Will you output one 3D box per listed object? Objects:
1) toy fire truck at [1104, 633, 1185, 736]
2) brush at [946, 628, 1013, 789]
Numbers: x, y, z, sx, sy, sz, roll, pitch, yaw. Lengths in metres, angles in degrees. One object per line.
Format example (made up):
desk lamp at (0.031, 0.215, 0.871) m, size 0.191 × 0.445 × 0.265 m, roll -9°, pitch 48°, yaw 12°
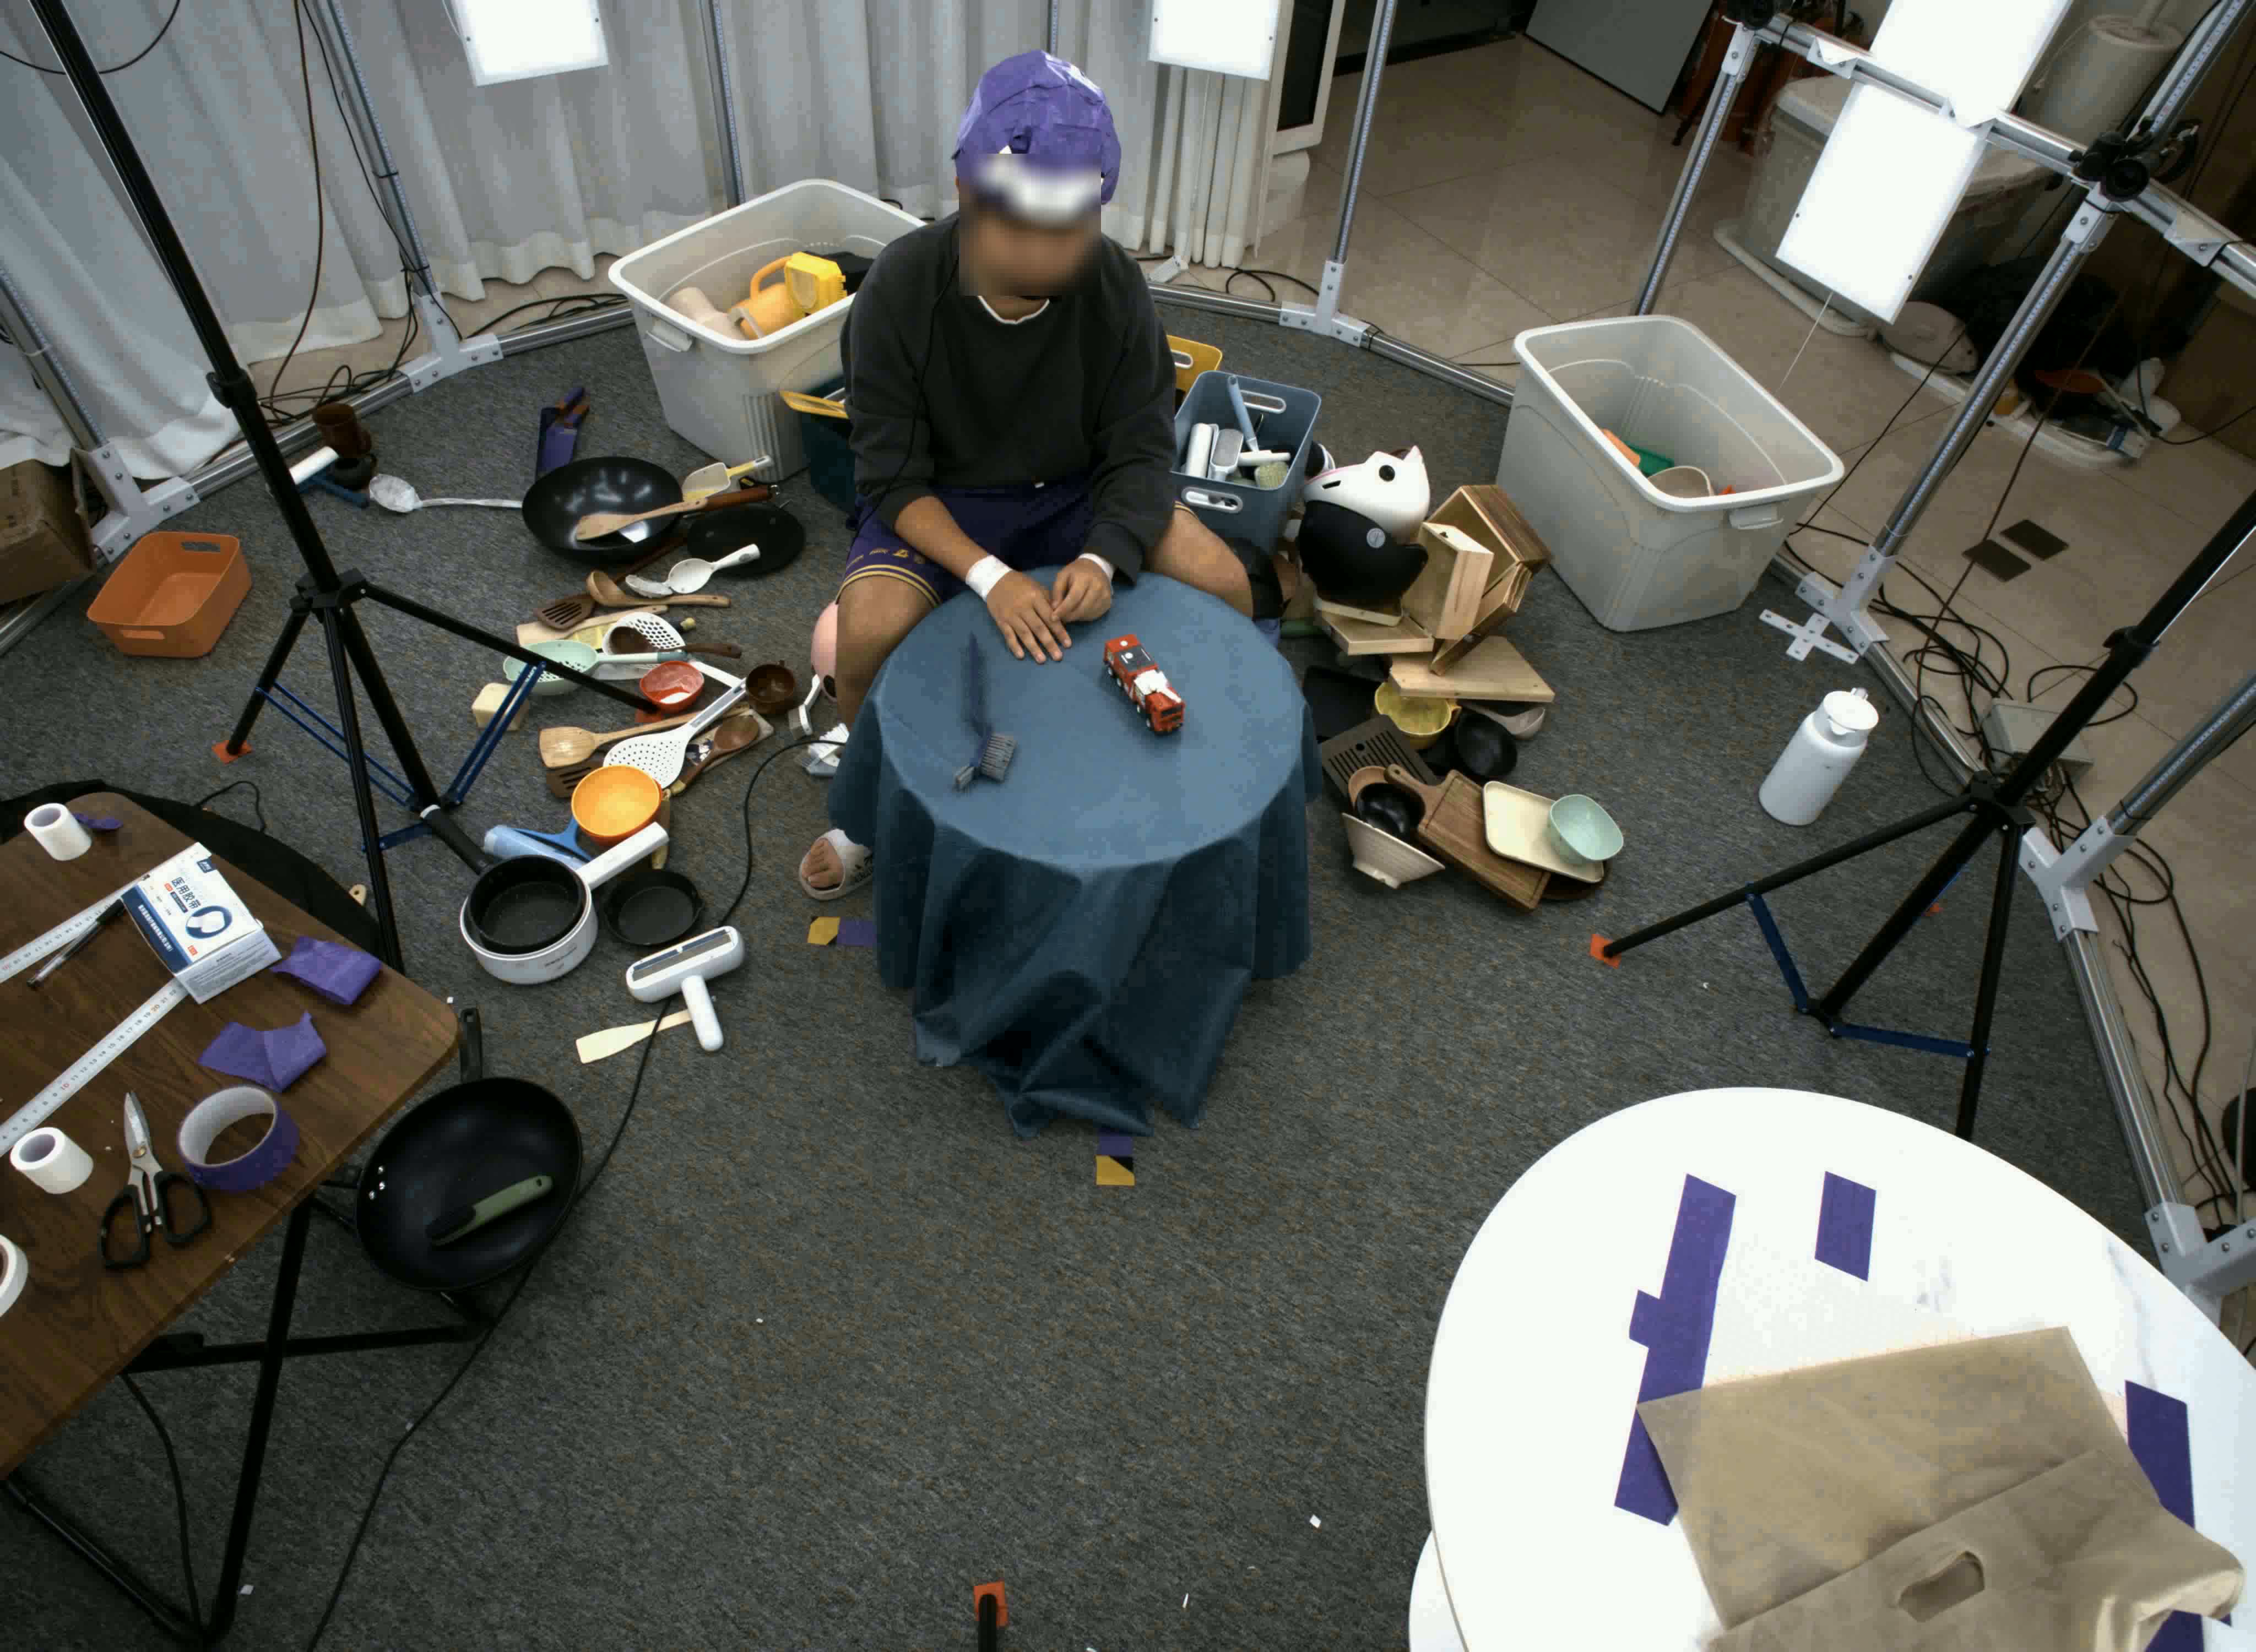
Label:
toy fire truck at (0.023, -0.201, 1.804) m, size 0.054 × 0.068 × 0.171 m, roll -20°, pitch 53°, yaw -20°
brush at (-0.218, -0.167, 1.776) m, size 0.095 × 0.033 × 0.280 m, roll -8°, pitch 50°, yaw -10°
